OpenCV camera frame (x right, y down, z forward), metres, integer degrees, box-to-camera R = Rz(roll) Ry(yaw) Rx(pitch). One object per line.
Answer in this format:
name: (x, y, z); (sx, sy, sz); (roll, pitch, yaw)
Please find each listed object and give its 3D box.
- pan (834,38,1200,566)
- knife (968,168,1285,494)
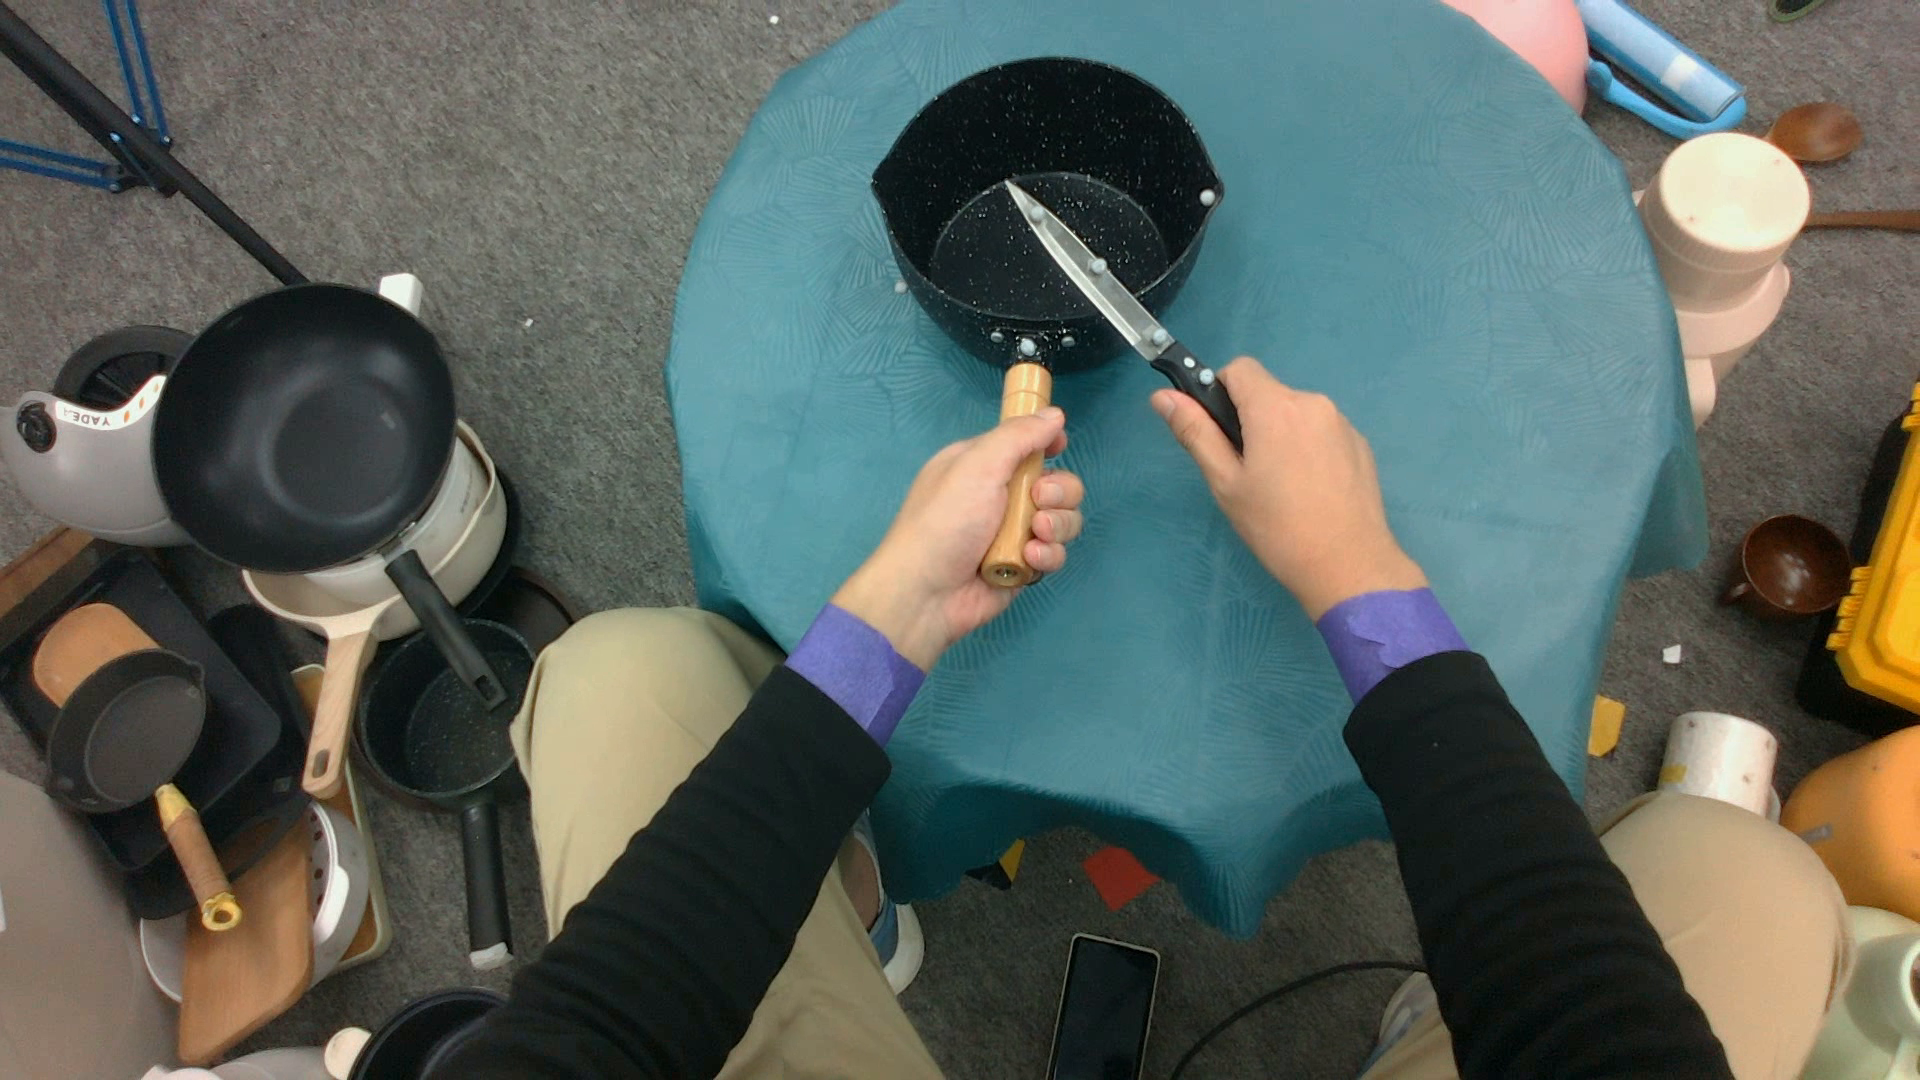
pan: (0.027, -0.127, 0.769); (0.207, 0.108, 0.344); (3, 65, 4)
knife: (0.088, -0.116, 0.731); (0.238, 0.016, 0.024); (47, 63, 5)
